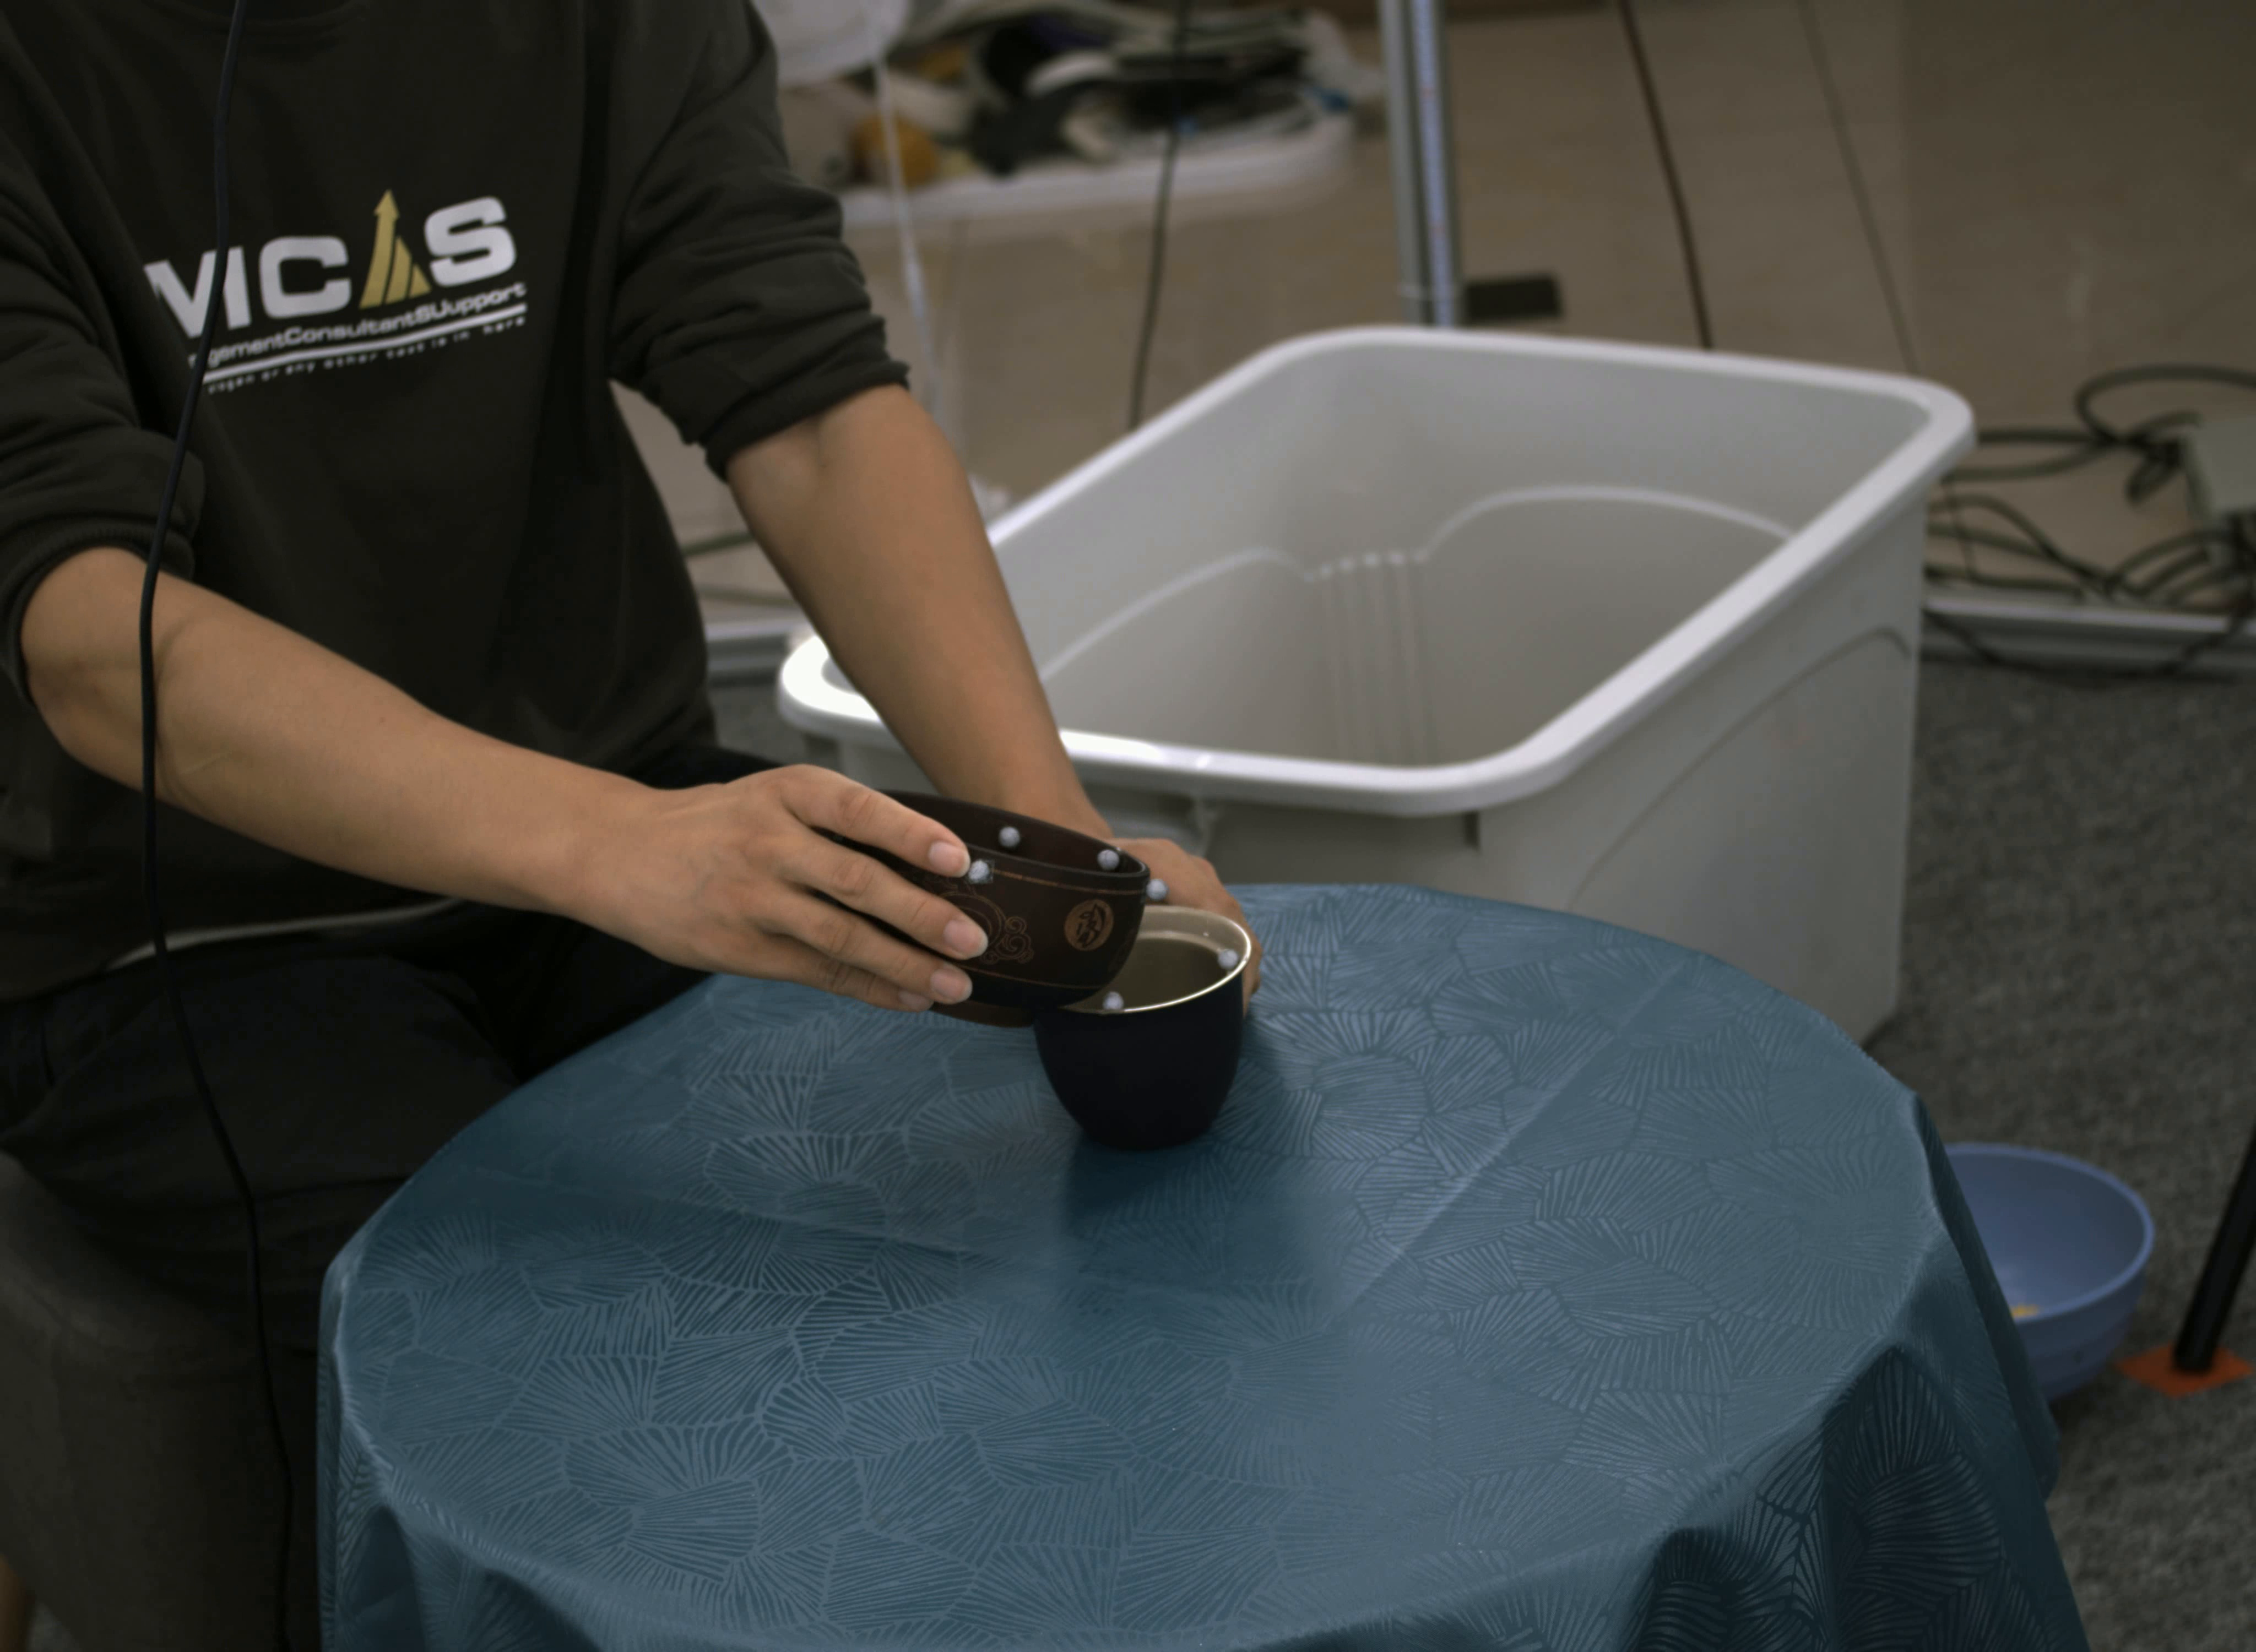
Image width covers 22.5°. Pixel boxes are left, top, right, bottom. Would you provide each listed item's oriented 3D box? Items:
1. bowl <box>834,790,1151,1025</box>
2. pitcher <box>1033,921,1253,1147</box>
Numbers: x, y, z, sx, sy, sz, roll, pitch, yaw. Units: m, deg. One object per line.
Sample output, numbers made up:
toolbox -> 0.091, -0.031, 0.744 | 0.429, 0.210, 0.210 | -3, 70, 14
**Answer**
bowl -> -0.054, 0.034, 2.118 | 0.118, 0.070, 0.117 | 13, 7, -2
pitcher -> 0.004, 0.082, 2.179 | 0.095, 0.072, 0.082 | -17, 28, -21
